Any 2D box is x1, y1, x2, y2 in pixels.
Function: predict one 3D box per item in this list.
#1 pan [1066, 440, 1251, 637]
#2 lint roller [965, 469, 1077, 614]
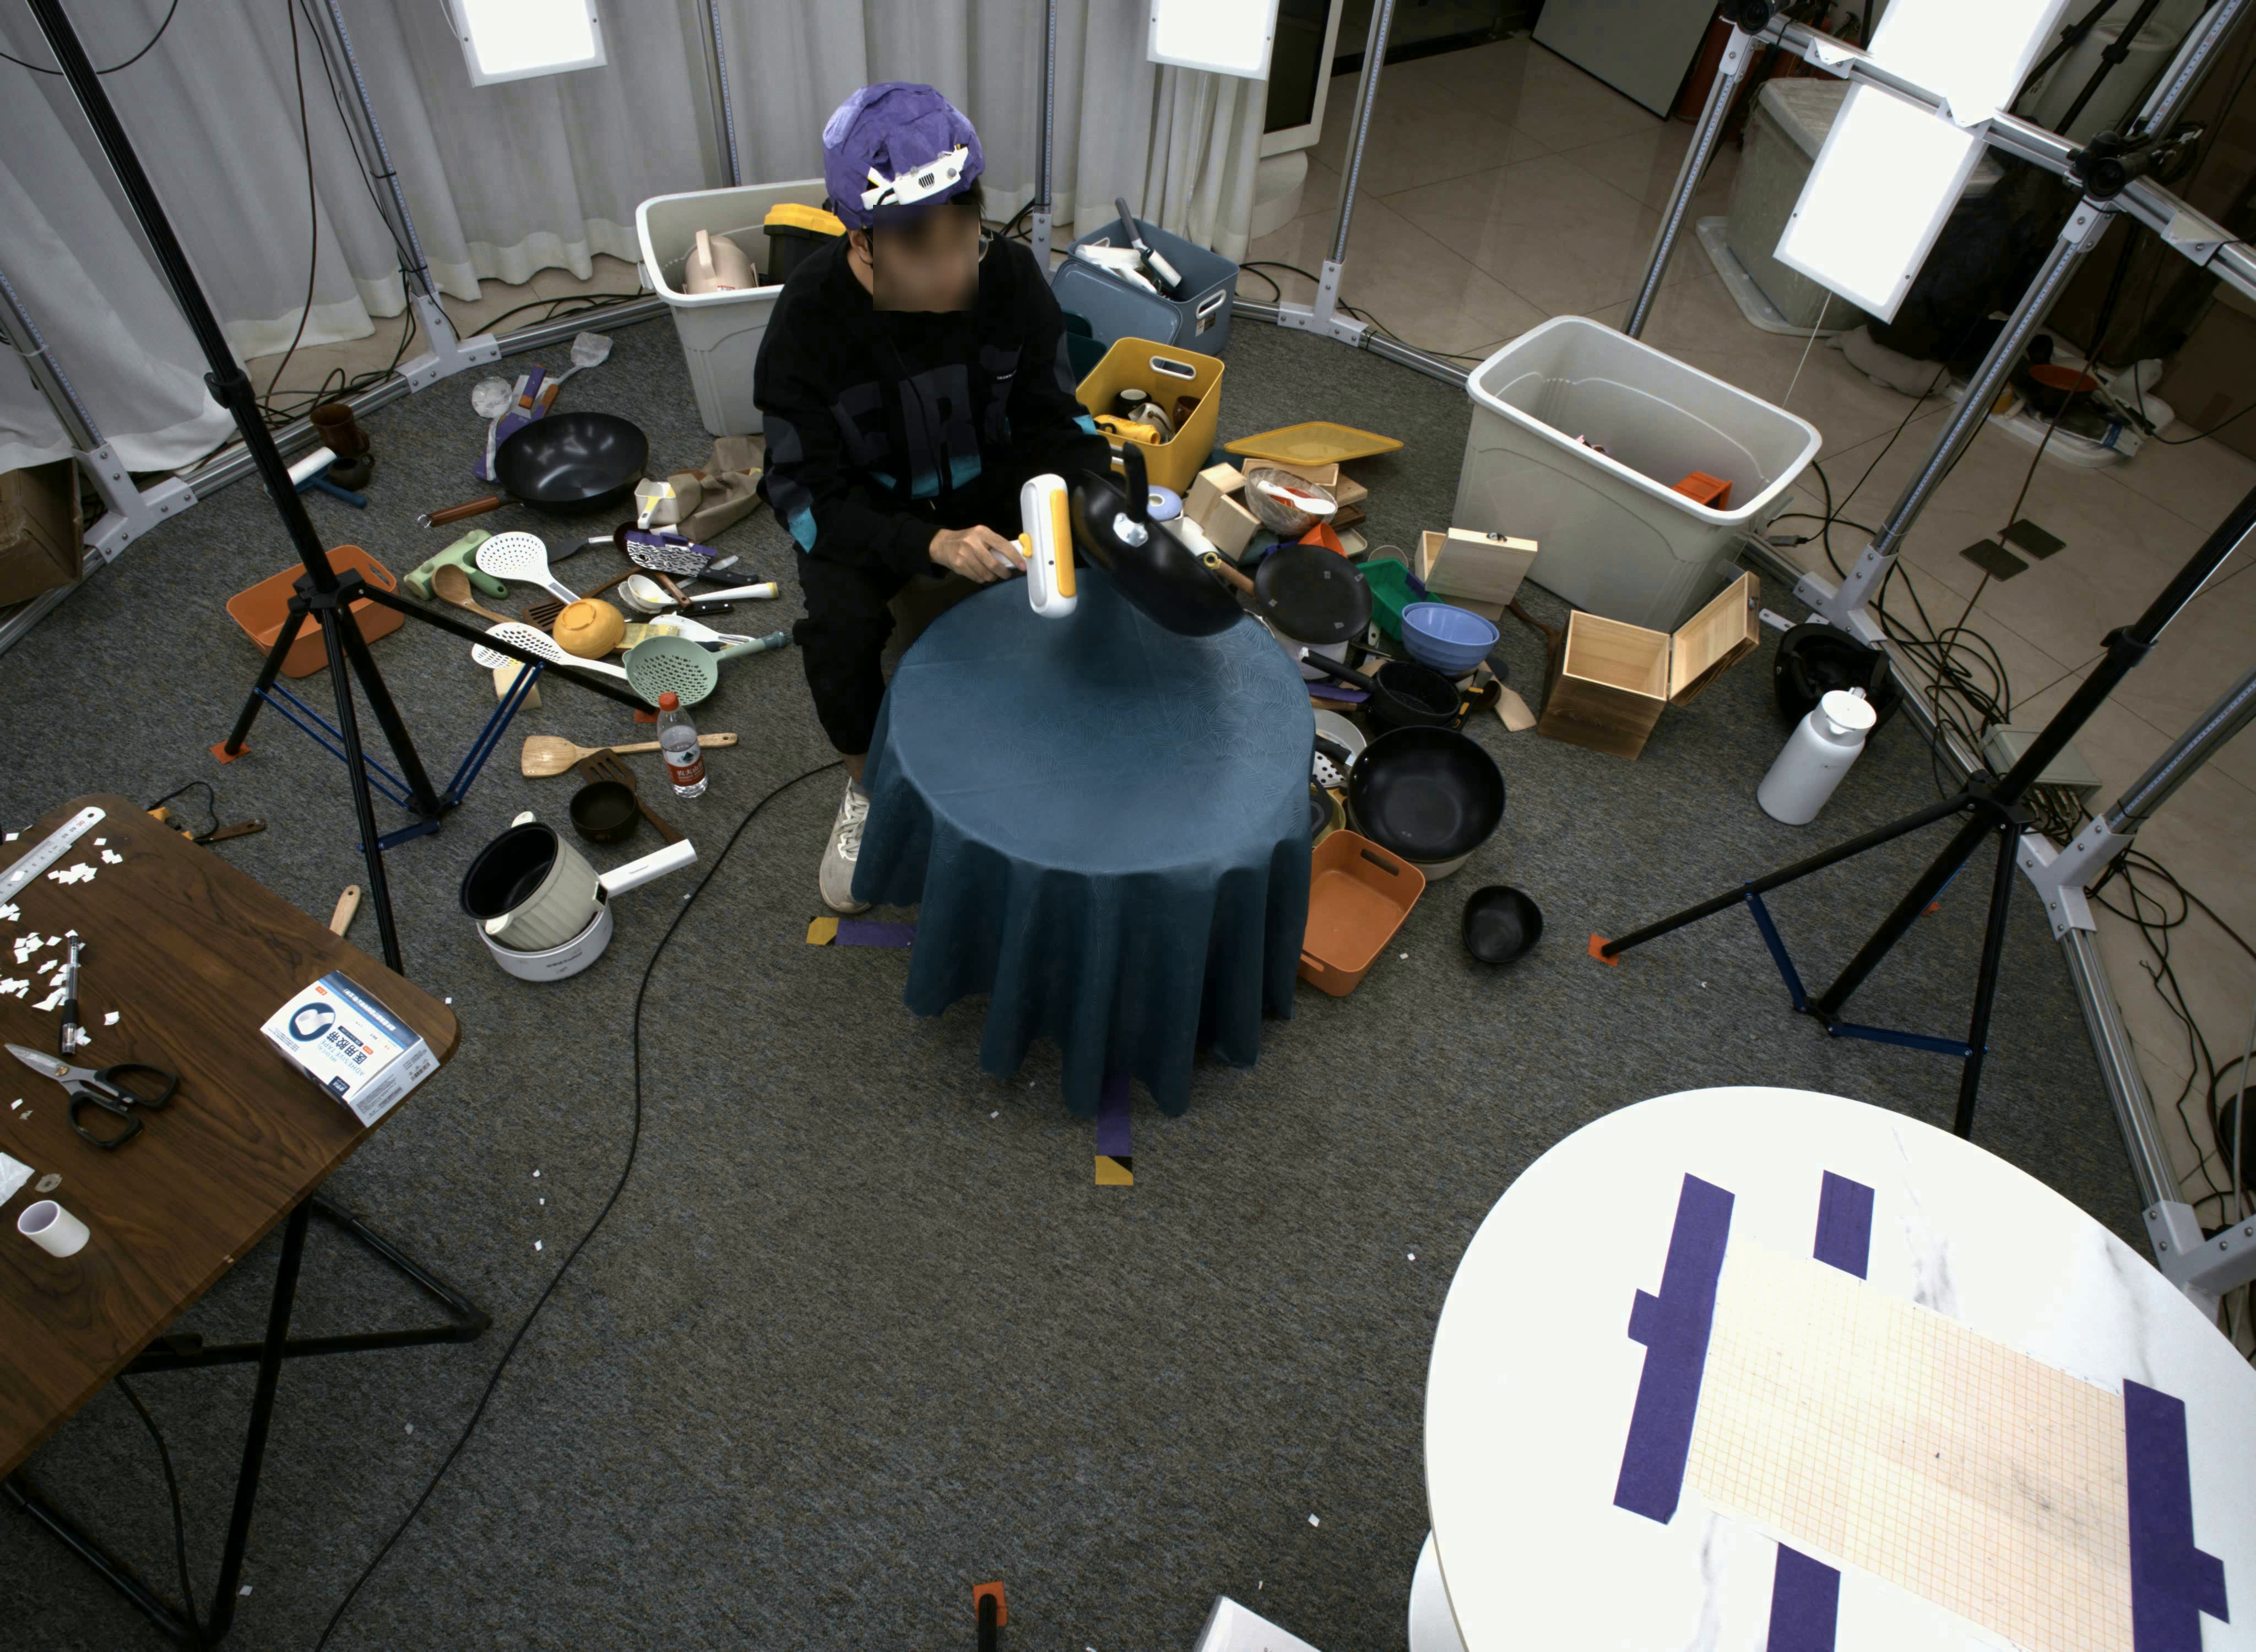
[{"bbox_3d":[0.015,-0.371,1.697,0.313,0.473,0.111,39,93,12],"label":"pan"},{"bbox_3d":[-0.152,-0.382,1.792,0.074,0.192,0.192,-13,4,-40],"label":"lint roller"}]
